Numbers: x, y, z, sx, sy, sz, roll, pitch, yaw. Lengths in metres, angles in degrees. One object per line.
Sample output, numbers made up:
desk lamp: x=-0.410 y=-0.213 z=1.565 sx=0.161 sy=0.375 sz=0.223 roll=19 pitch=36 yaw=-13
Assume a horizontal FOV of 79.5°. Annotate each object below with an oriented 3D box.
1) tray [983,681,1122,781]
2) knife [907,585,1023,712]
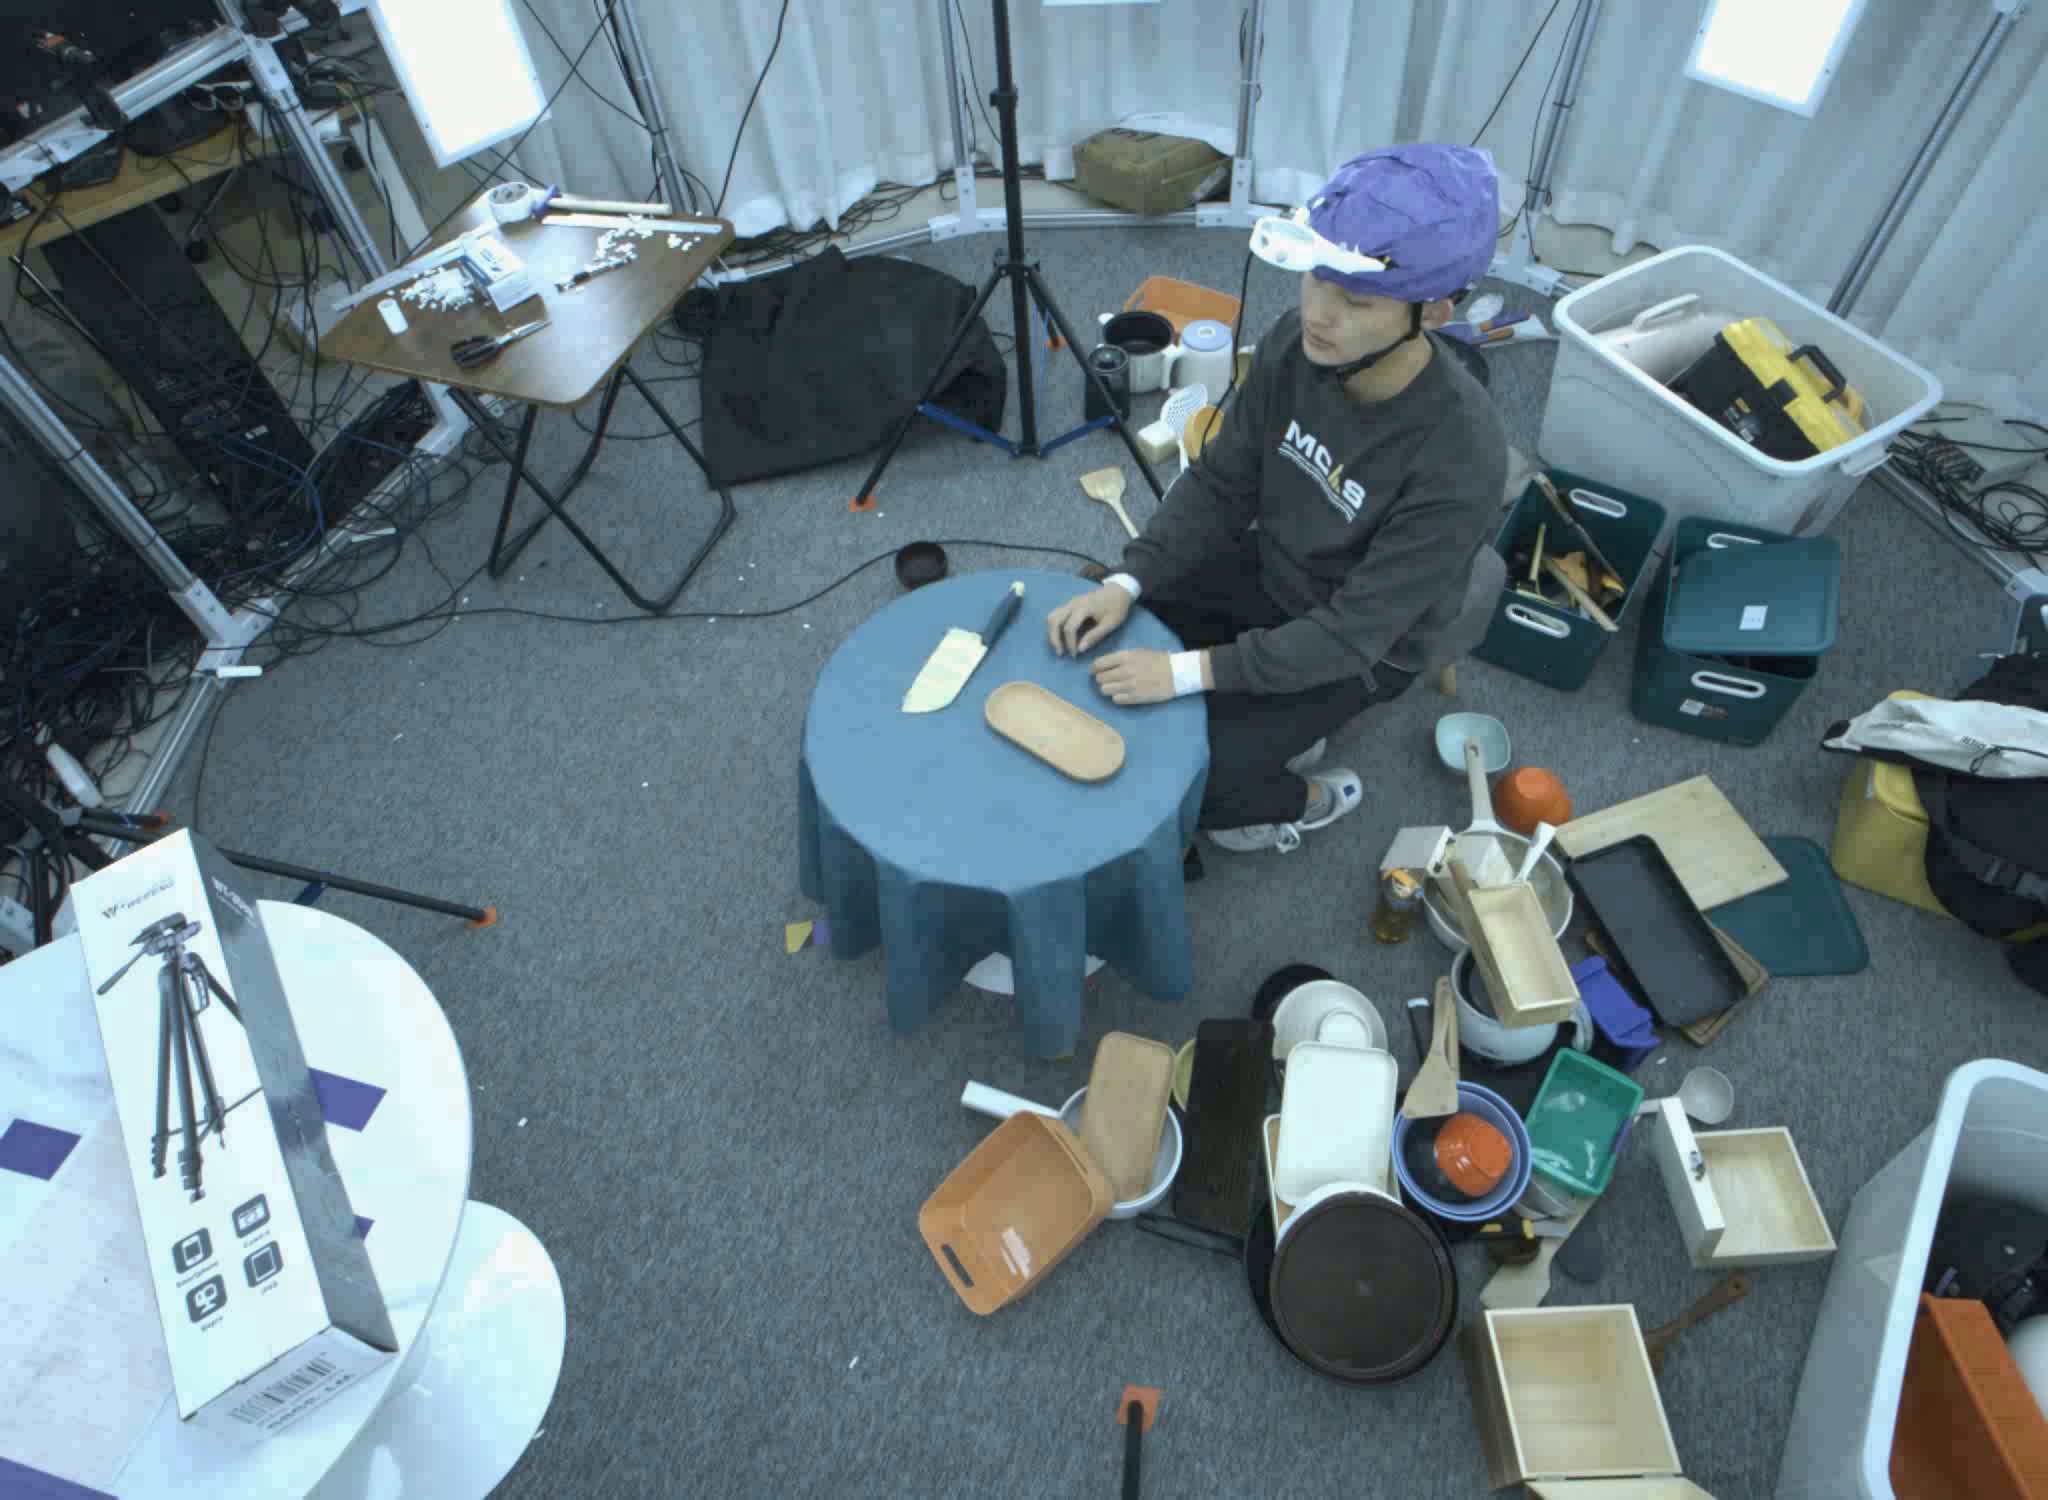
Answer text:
tray: x=0.041 y=-0.029 z=1.805 sx=0.227 sy=0.020 sz=0.102 roll=31 pitch=59 yaw=23
knife: x=-0.090 y=-0.160 z=1.903 sx=0.080 sy=0.027 sz=0.290 roll=26 pitch=60 yaw=17
